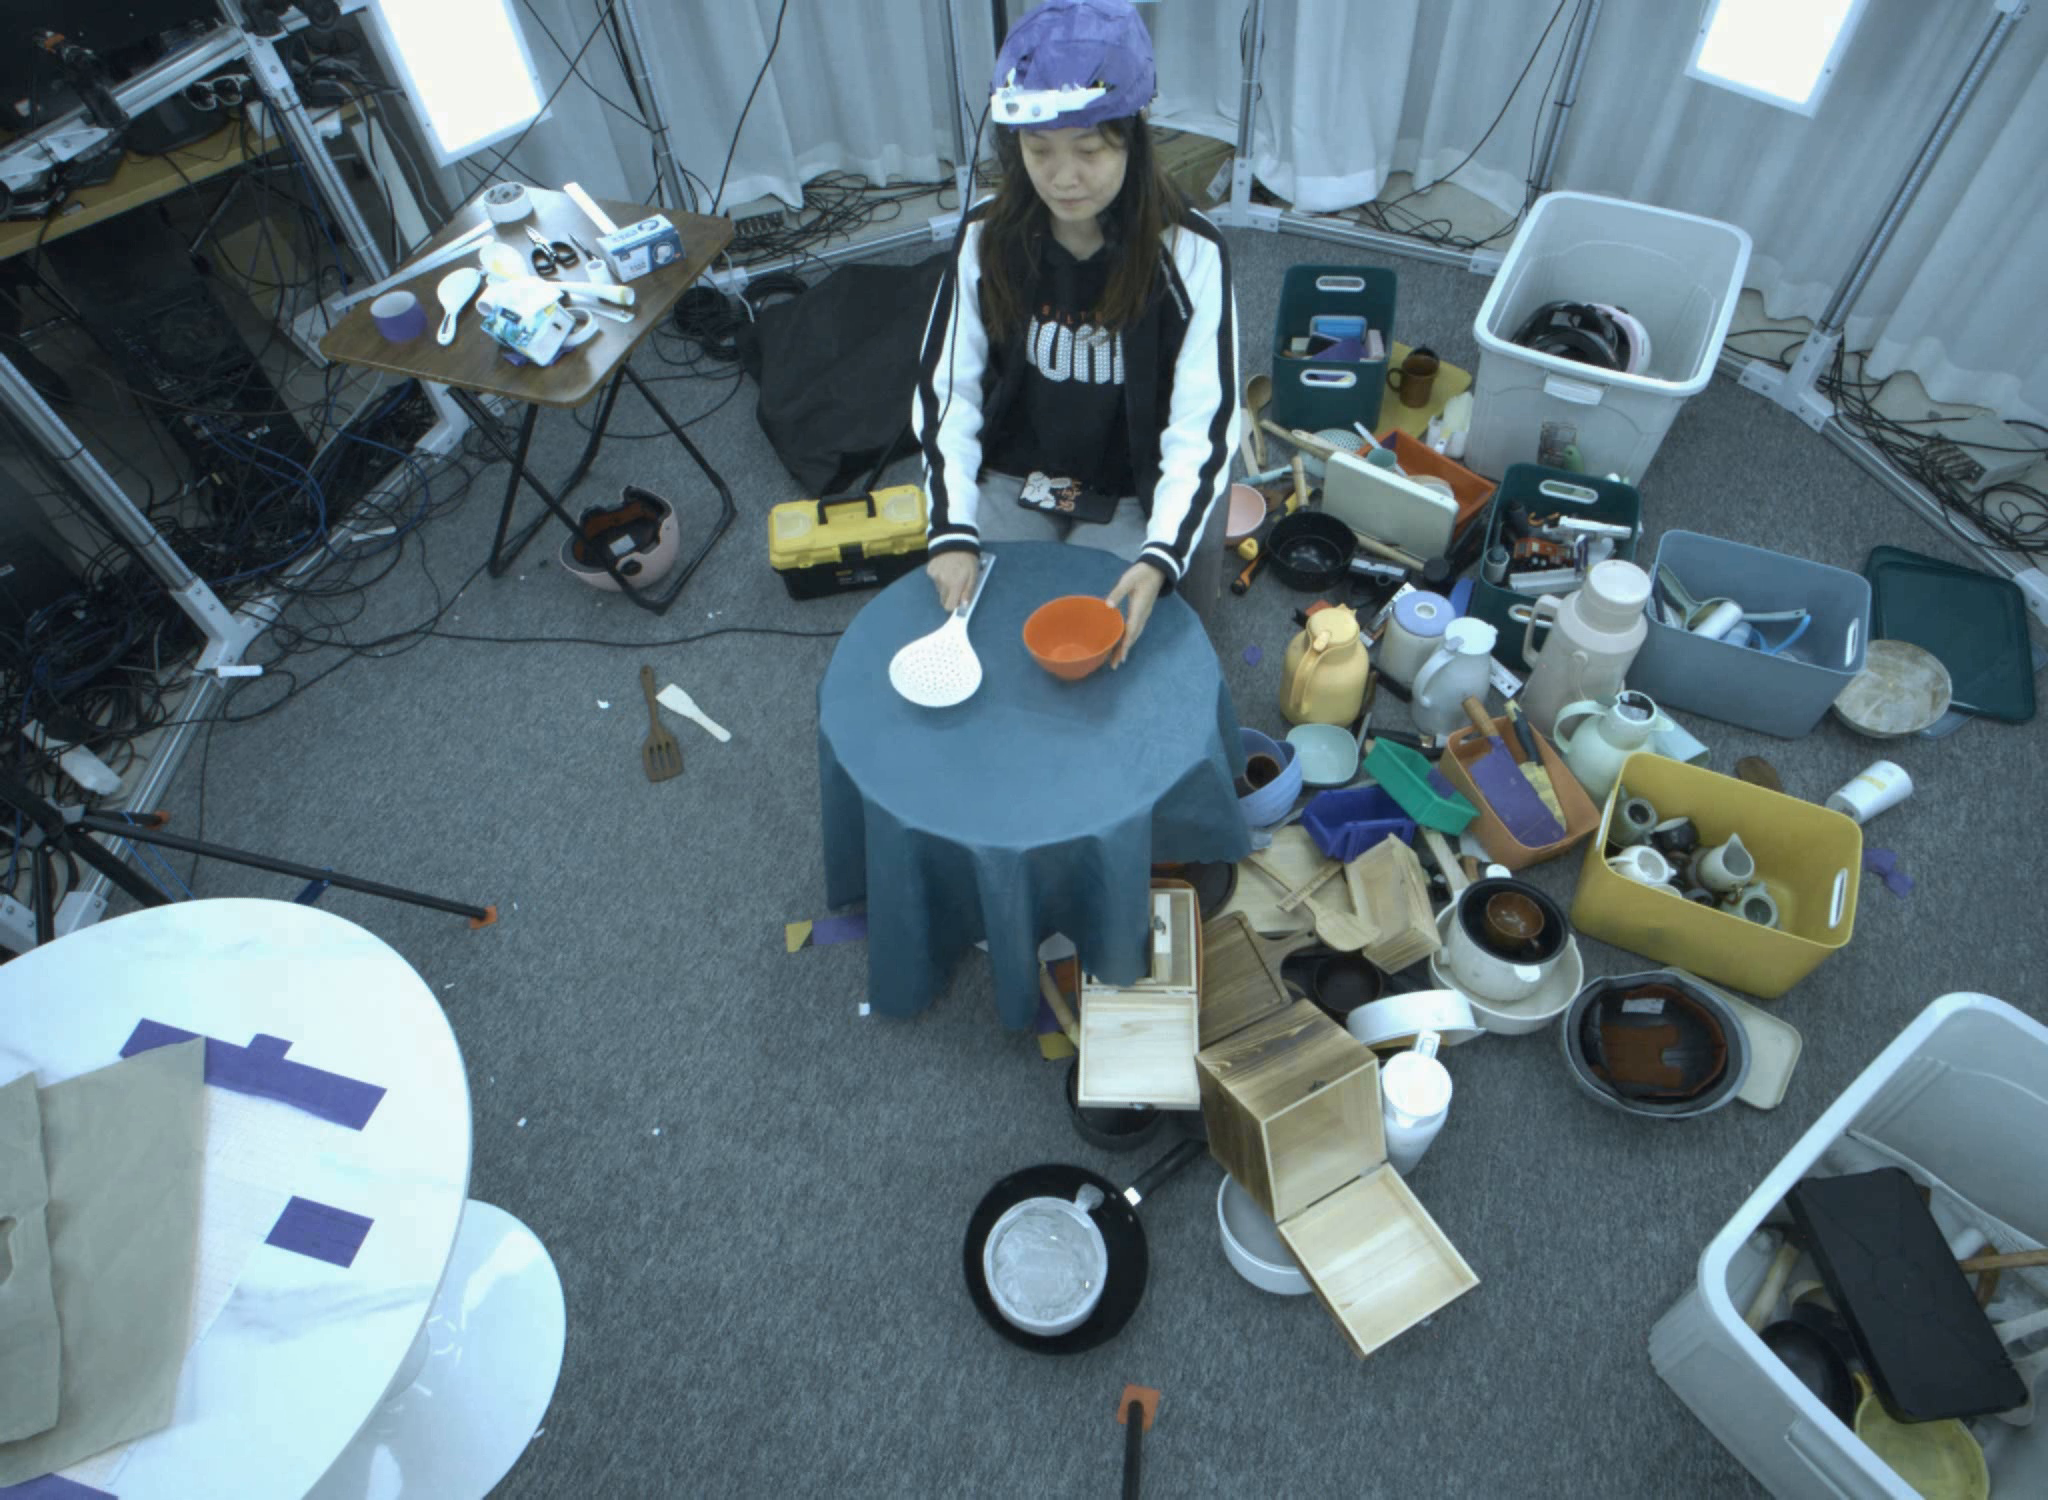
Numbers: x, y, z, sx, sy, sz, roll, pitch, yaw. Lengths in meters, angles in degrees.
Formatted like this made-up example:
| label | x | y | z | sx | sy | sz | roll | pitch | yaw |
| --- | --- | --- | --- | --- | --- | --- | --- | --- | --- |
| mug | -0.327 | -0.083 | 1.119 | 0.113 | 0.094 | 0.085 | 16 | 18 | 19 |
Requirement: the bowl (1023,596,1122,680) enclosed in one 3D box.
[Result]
| label | x | y | z | sx | sy | sz | roll | pitch | yaw |
| --- | --- | --- | --- | --- | --- | --- | --- | --- | --- |
| bowl | 0.074 | -0.154 | 1.833 | 0.148 | 0.106 | 0.146 | -2 | 54 | 4 |

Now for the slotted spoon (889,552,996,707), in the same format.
| label | x | y | z | sx | sy | sz | roll | pitch | yaw |
| --- | --- | --- | --- | --- | --- | --- | --- | --- | --- |
| slotted spoon | -0.105 | -0.192 | 1.899 | 0.136 | 0.046 | 0.348 | 16 | 56 | 4 |
